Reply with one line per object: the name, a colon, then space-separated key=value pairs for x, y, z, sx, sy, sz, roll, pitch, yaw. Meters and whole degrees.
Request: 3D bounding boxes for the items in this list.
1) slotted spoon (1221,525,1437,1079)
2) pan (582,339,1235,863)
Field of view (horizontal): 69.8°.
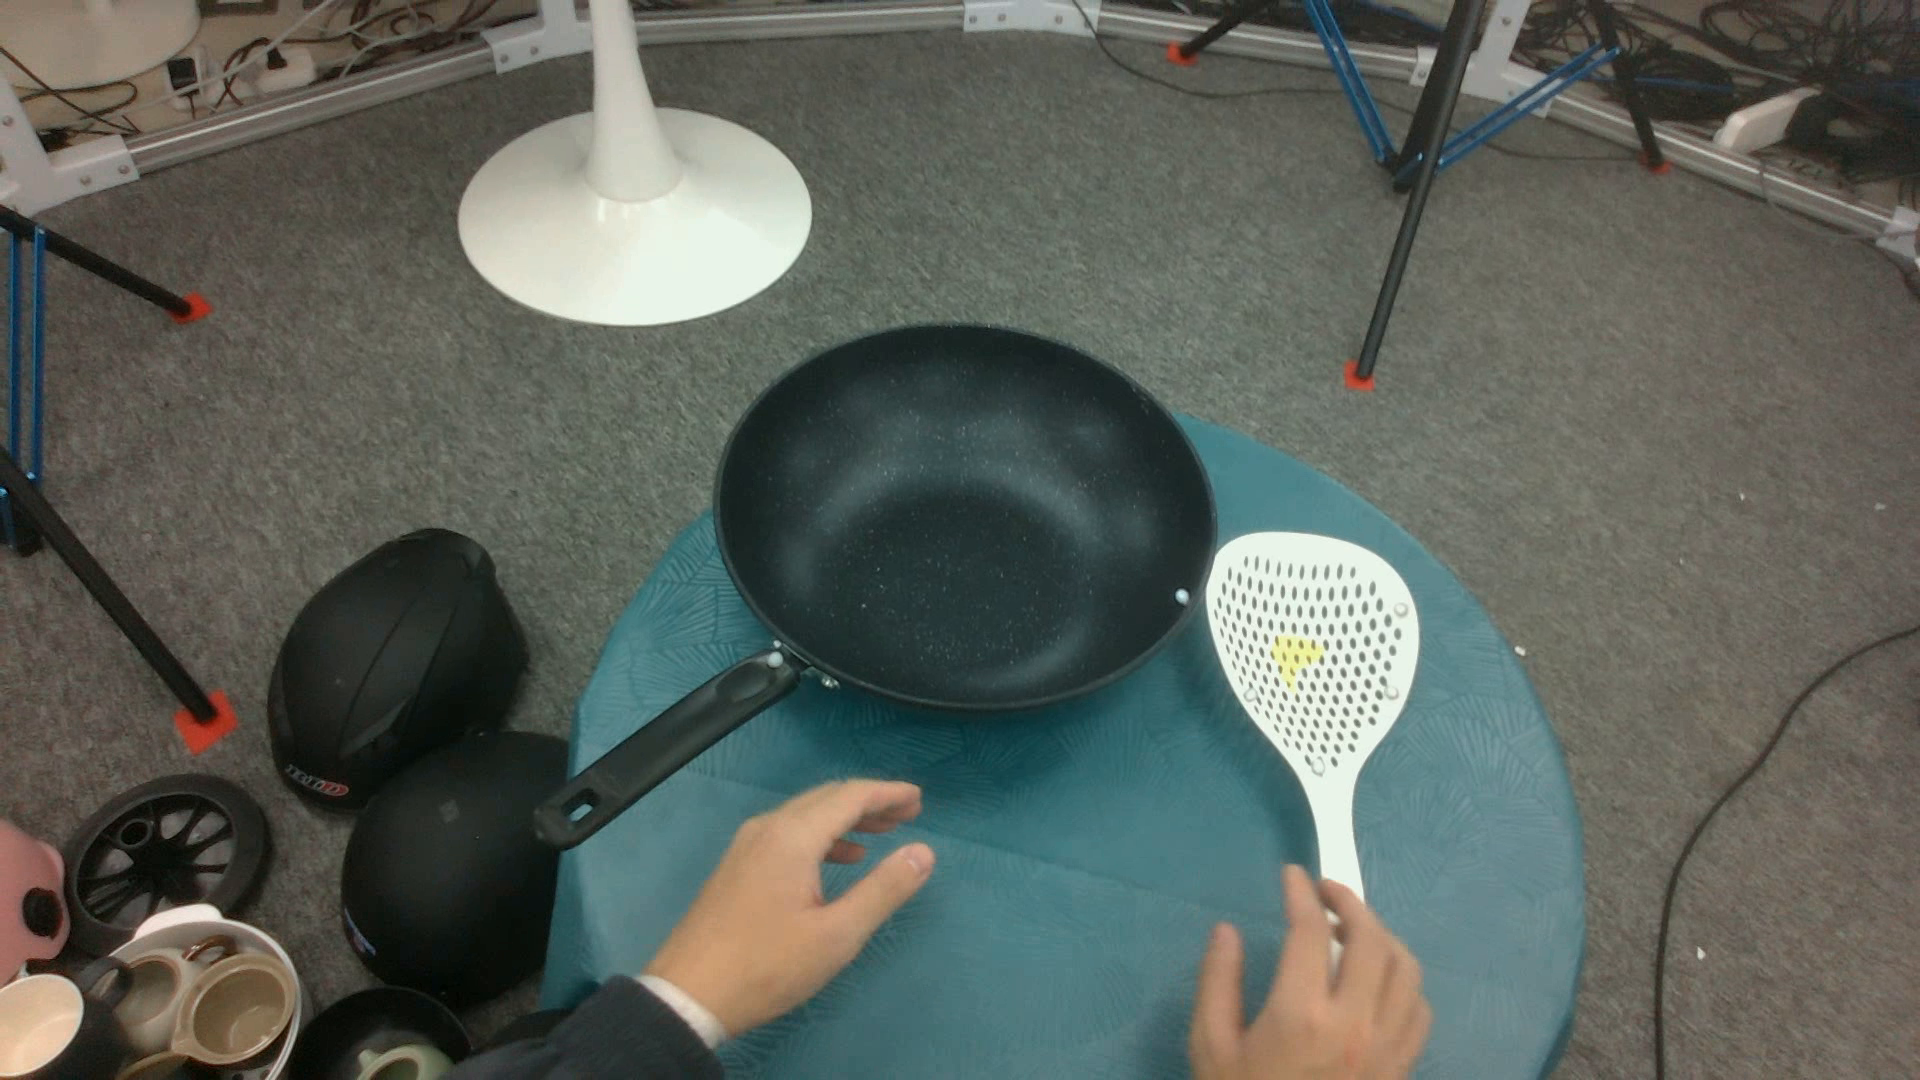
slotted spoon: x=0.229 y=0.138 z=0.812 sx=0.137 sy=0.050 sz=0.349 roll=3 pitch=50 yaw=-2
pan: x=-0.035 y=0.045 z=0.838 sx=0.310 sy=0.111 sz=0.479 roll=30 pitch=54 yaw=23
